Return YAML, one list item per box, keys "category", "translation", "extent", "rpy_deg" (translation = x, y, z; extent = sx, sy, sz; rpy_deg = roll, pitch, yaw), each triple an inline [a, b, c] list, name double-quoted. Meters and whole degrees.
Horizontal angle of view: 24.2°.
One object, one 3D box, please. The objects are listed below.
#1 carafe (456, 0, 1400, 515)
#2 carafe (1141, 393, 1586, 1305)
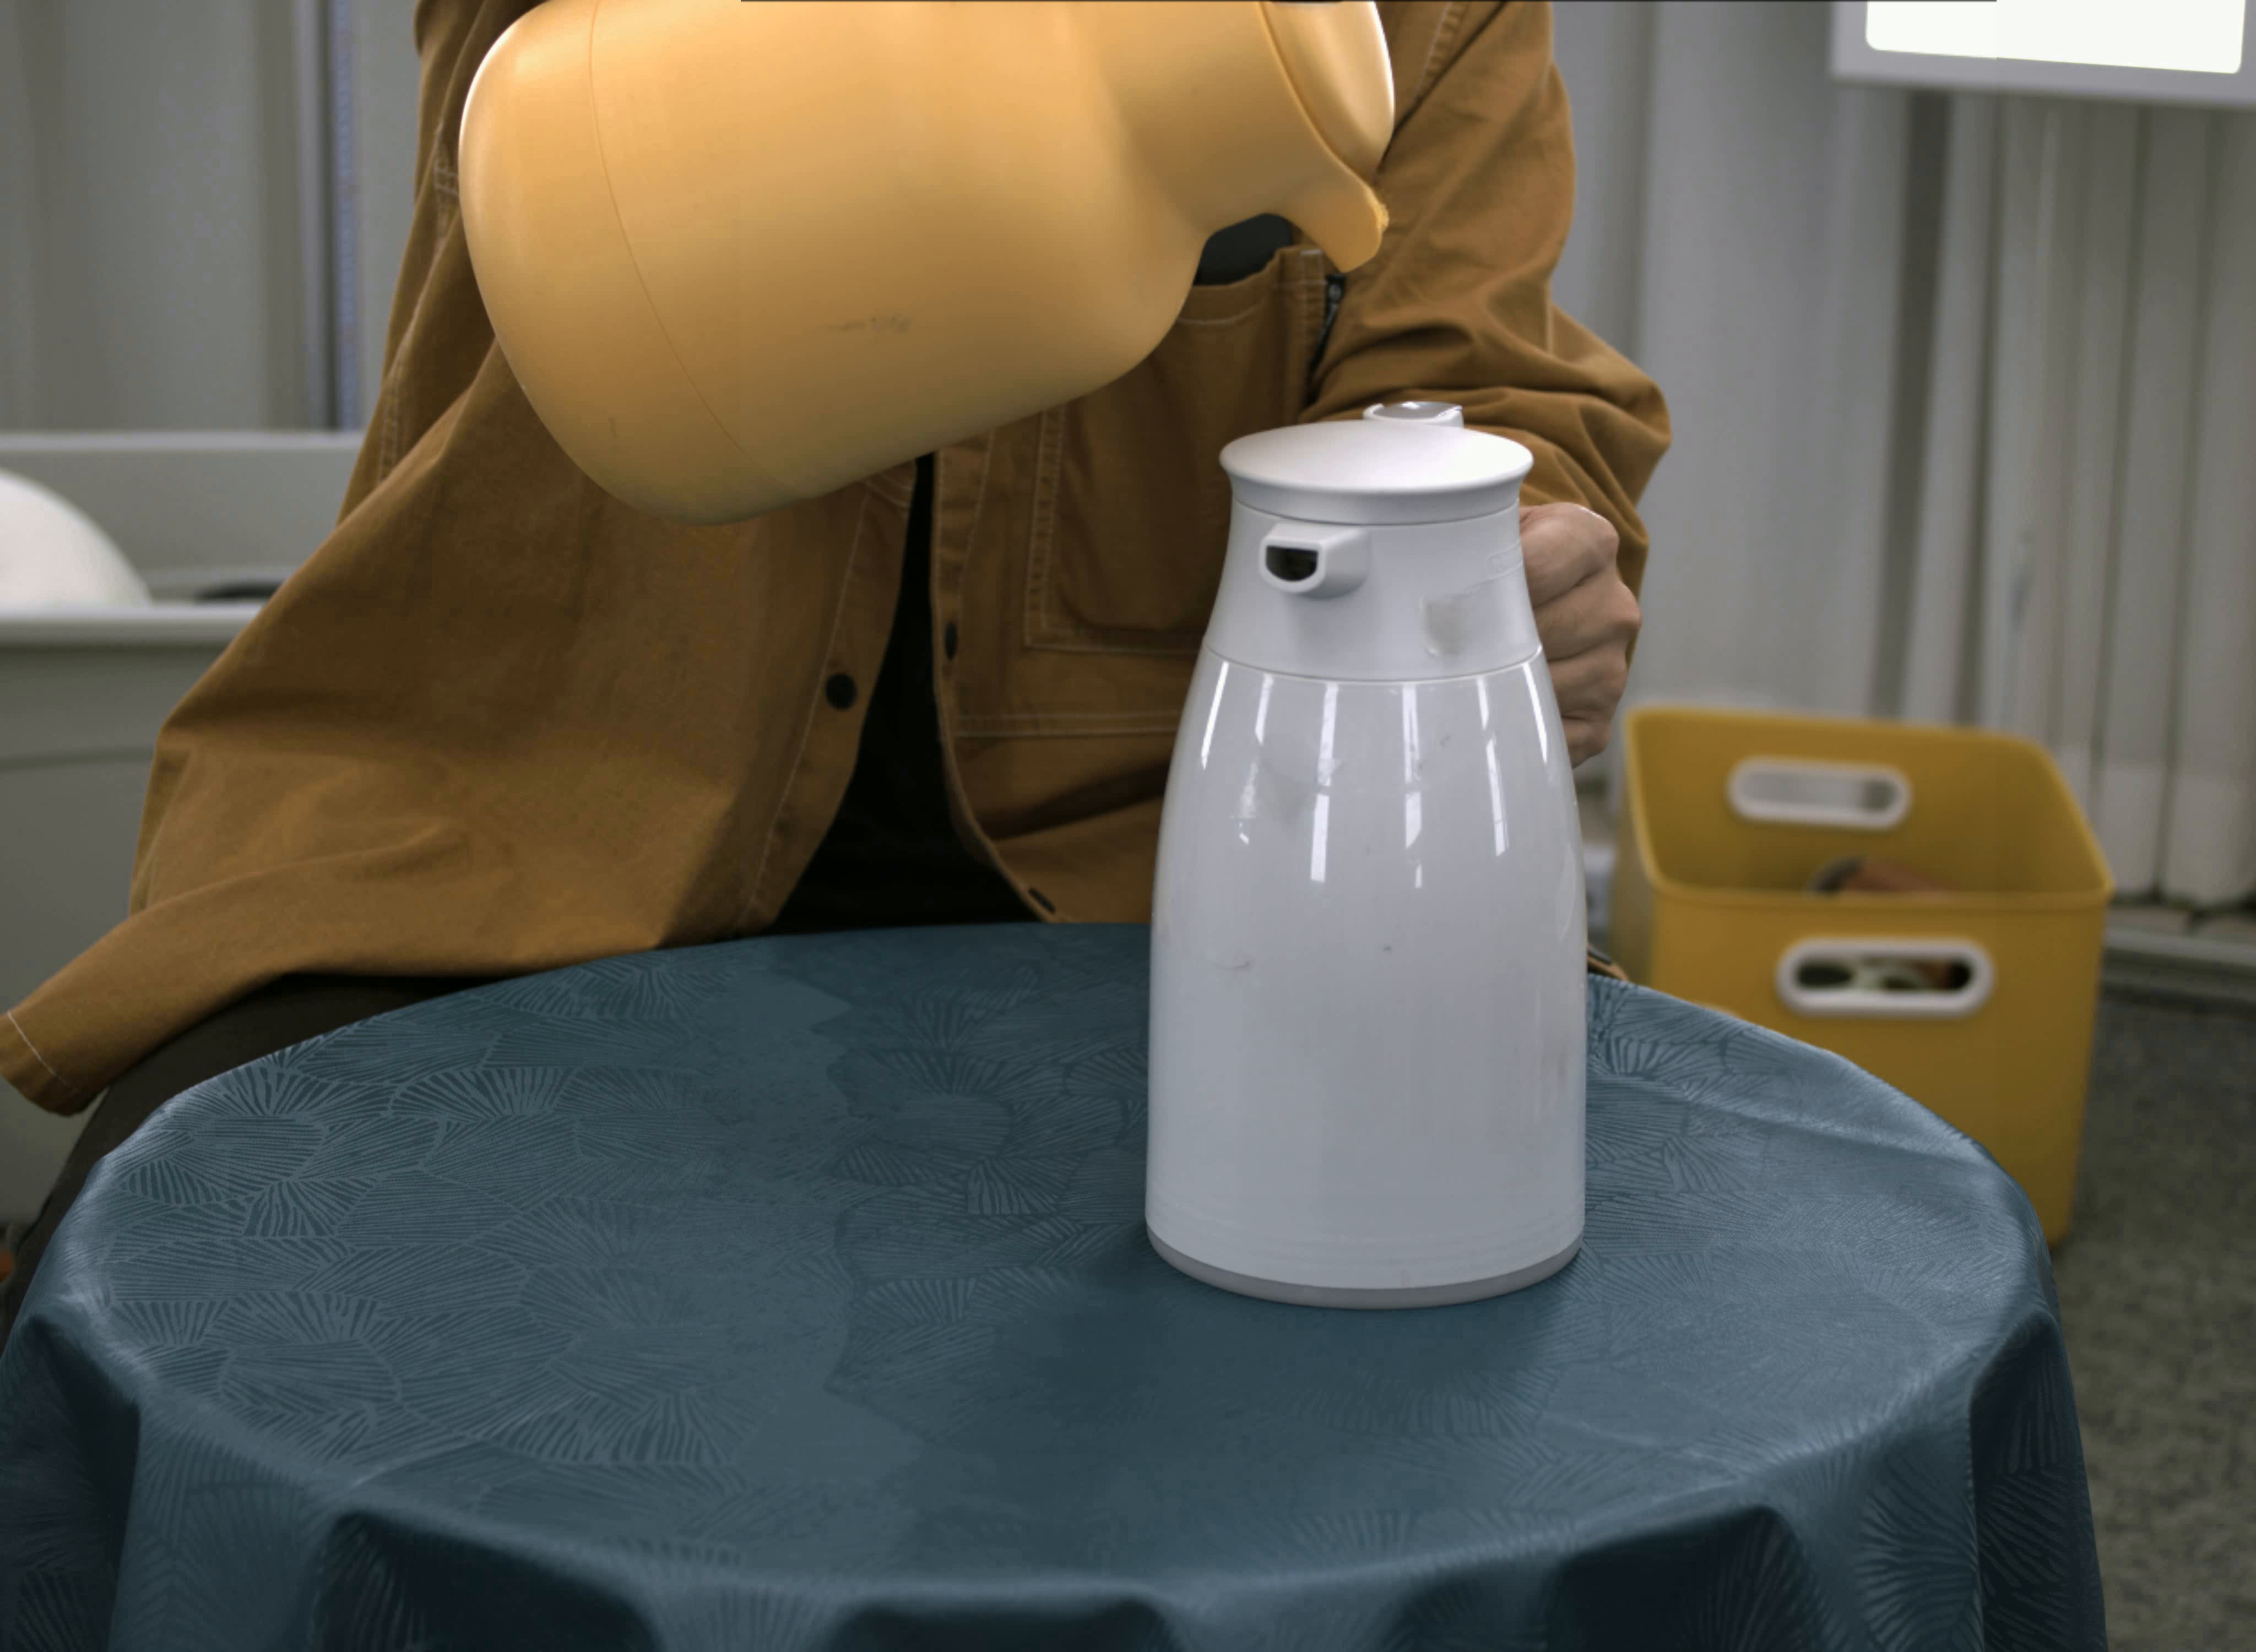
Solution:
- category: "carafe"
  translation: [-0.060, -0.215, 1.507]
  extent: [0.259, 0.204, 0.163]
  rpy_deg: [-18, 17, 15]
- category: "carafe"
  translation: [0.078, -0.002, 1.569]
  extent: [0.131, 0.250, 0.168]
  rpy_deg: [7, 17, 23]
